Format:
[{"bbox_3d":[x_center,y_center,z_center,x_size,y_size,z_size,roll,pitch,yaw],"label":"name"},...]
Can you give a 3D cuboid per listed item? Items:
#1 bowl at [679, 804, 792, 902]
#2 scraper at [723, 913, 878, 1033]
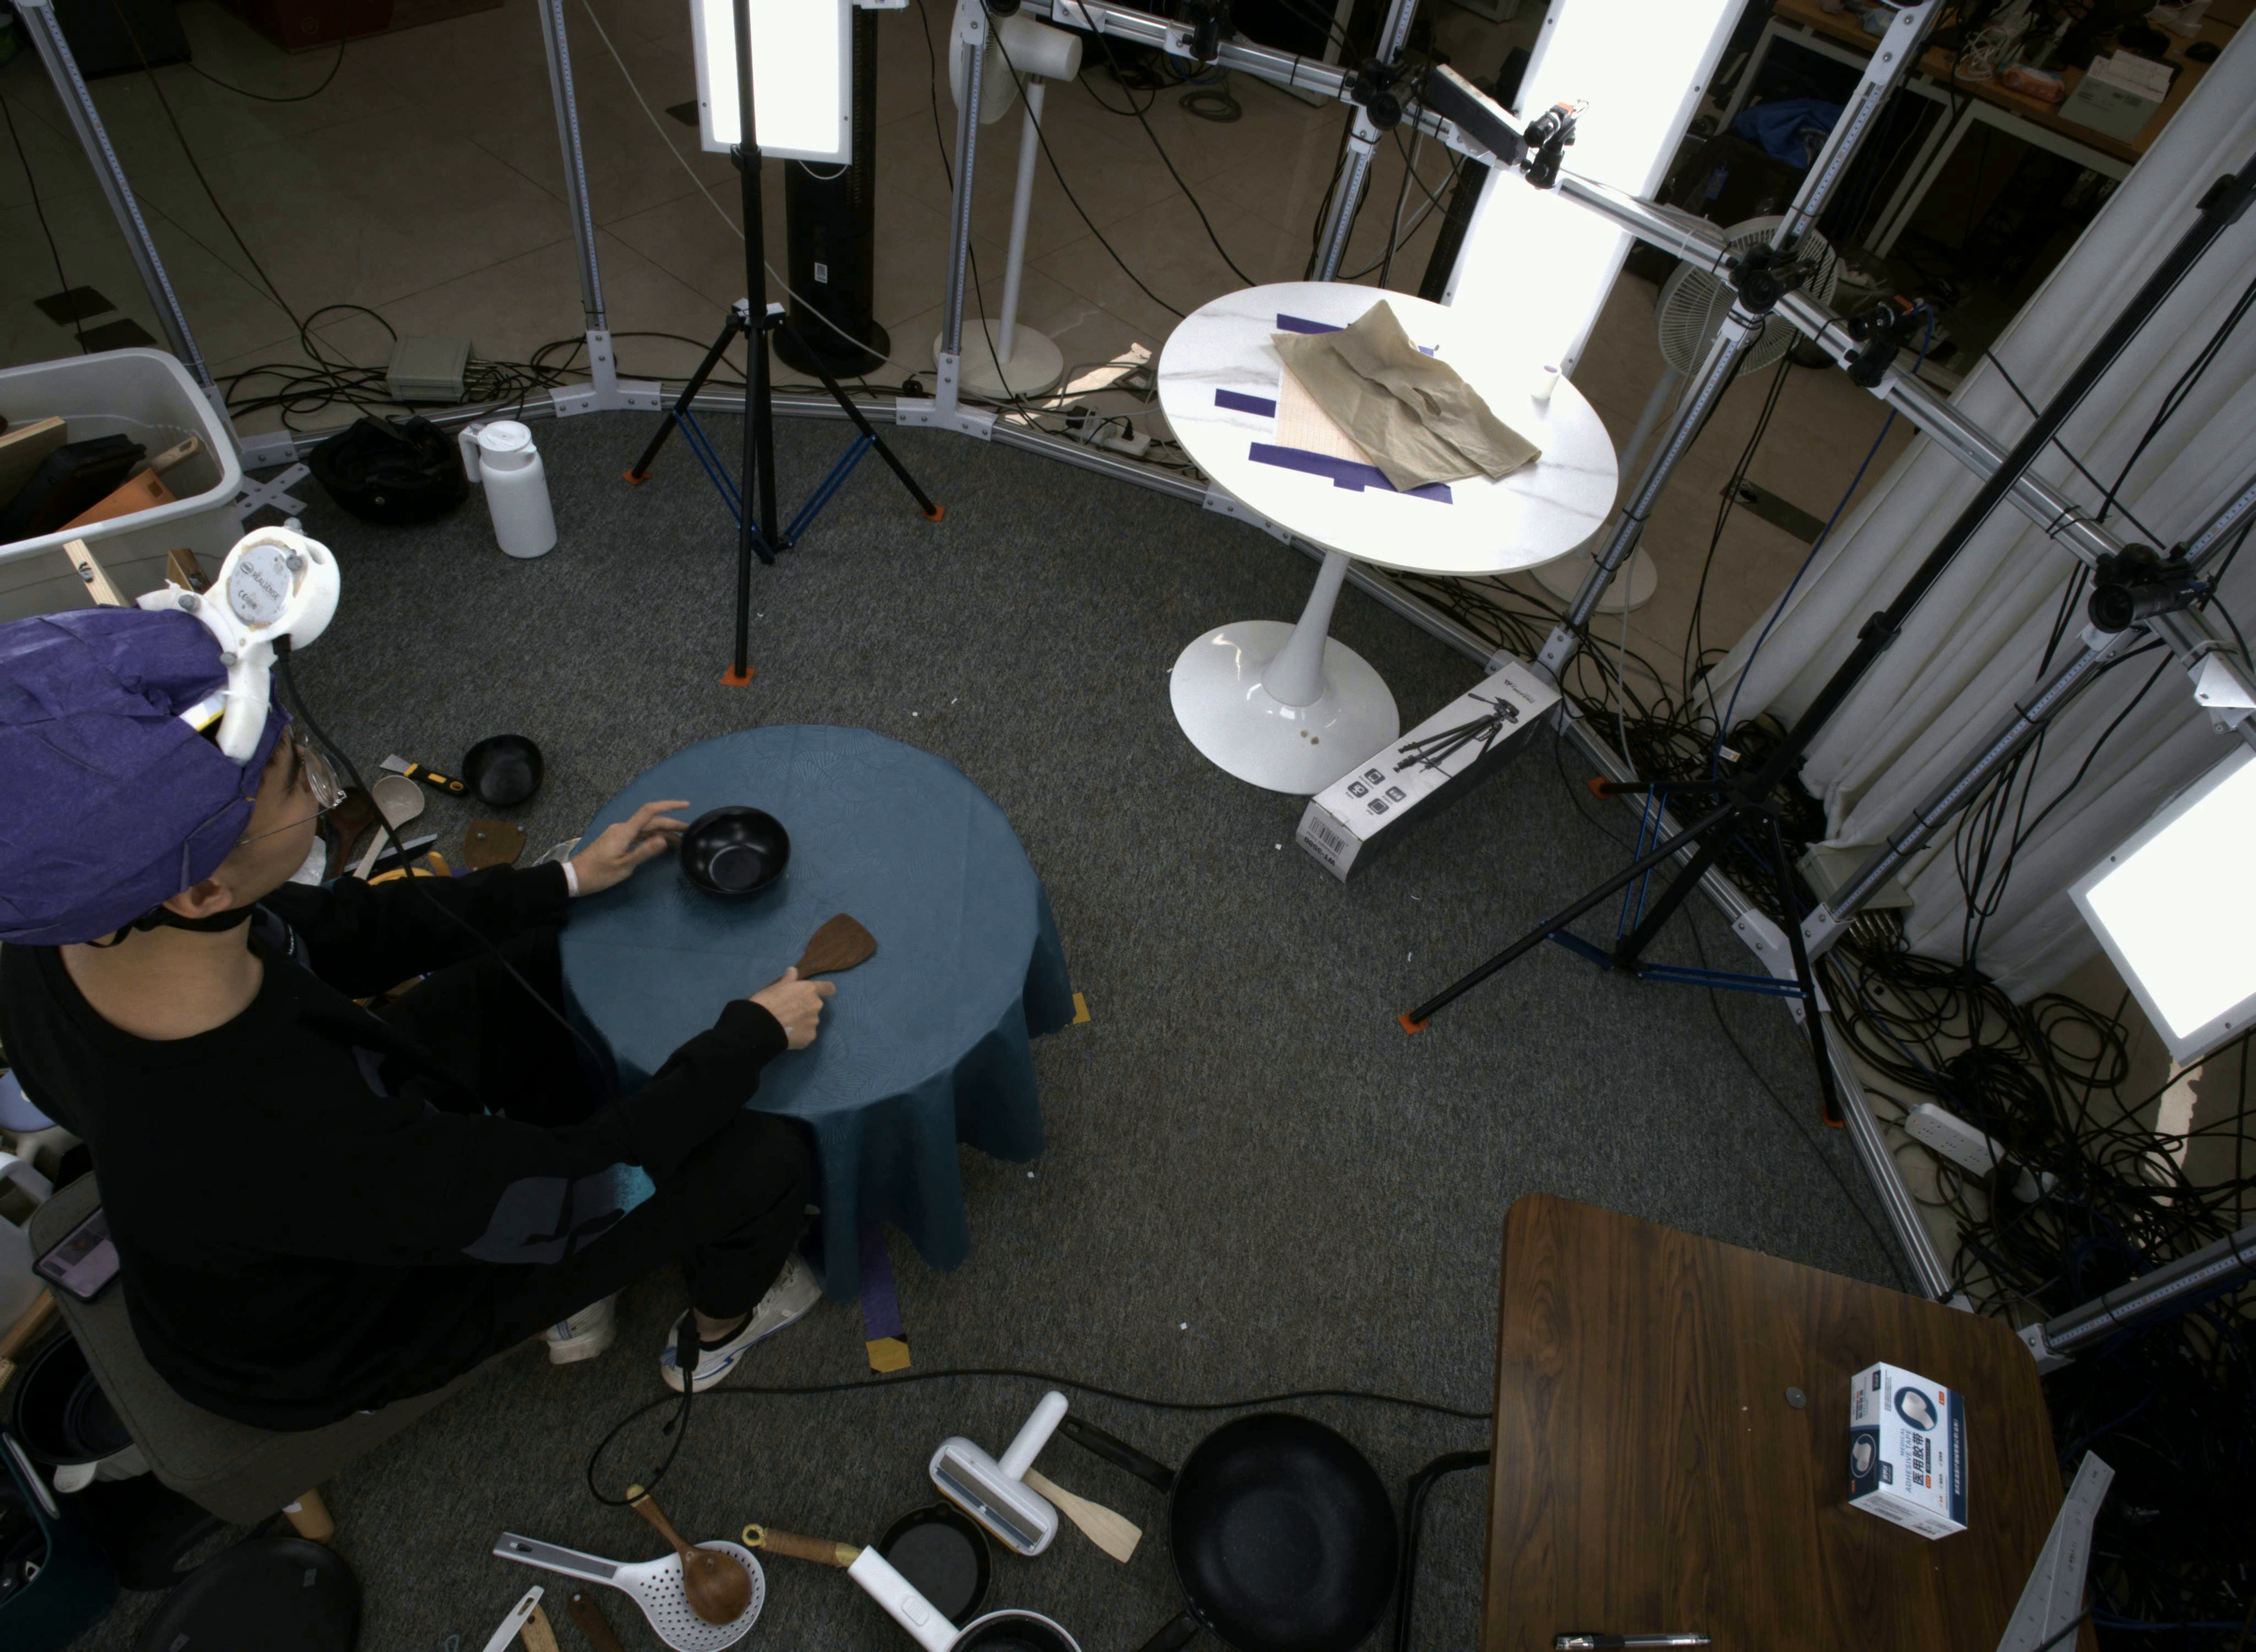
[{"bbox_3d":[-0.500,0.041,1.648,0.140,0.050,0.138,8,55,-10],"label":"bowl"},{"bbox_3d":[-0.406,0.182,1.592,0.074,0.011,0.211,40,55,18],"label":"scraper"}]
